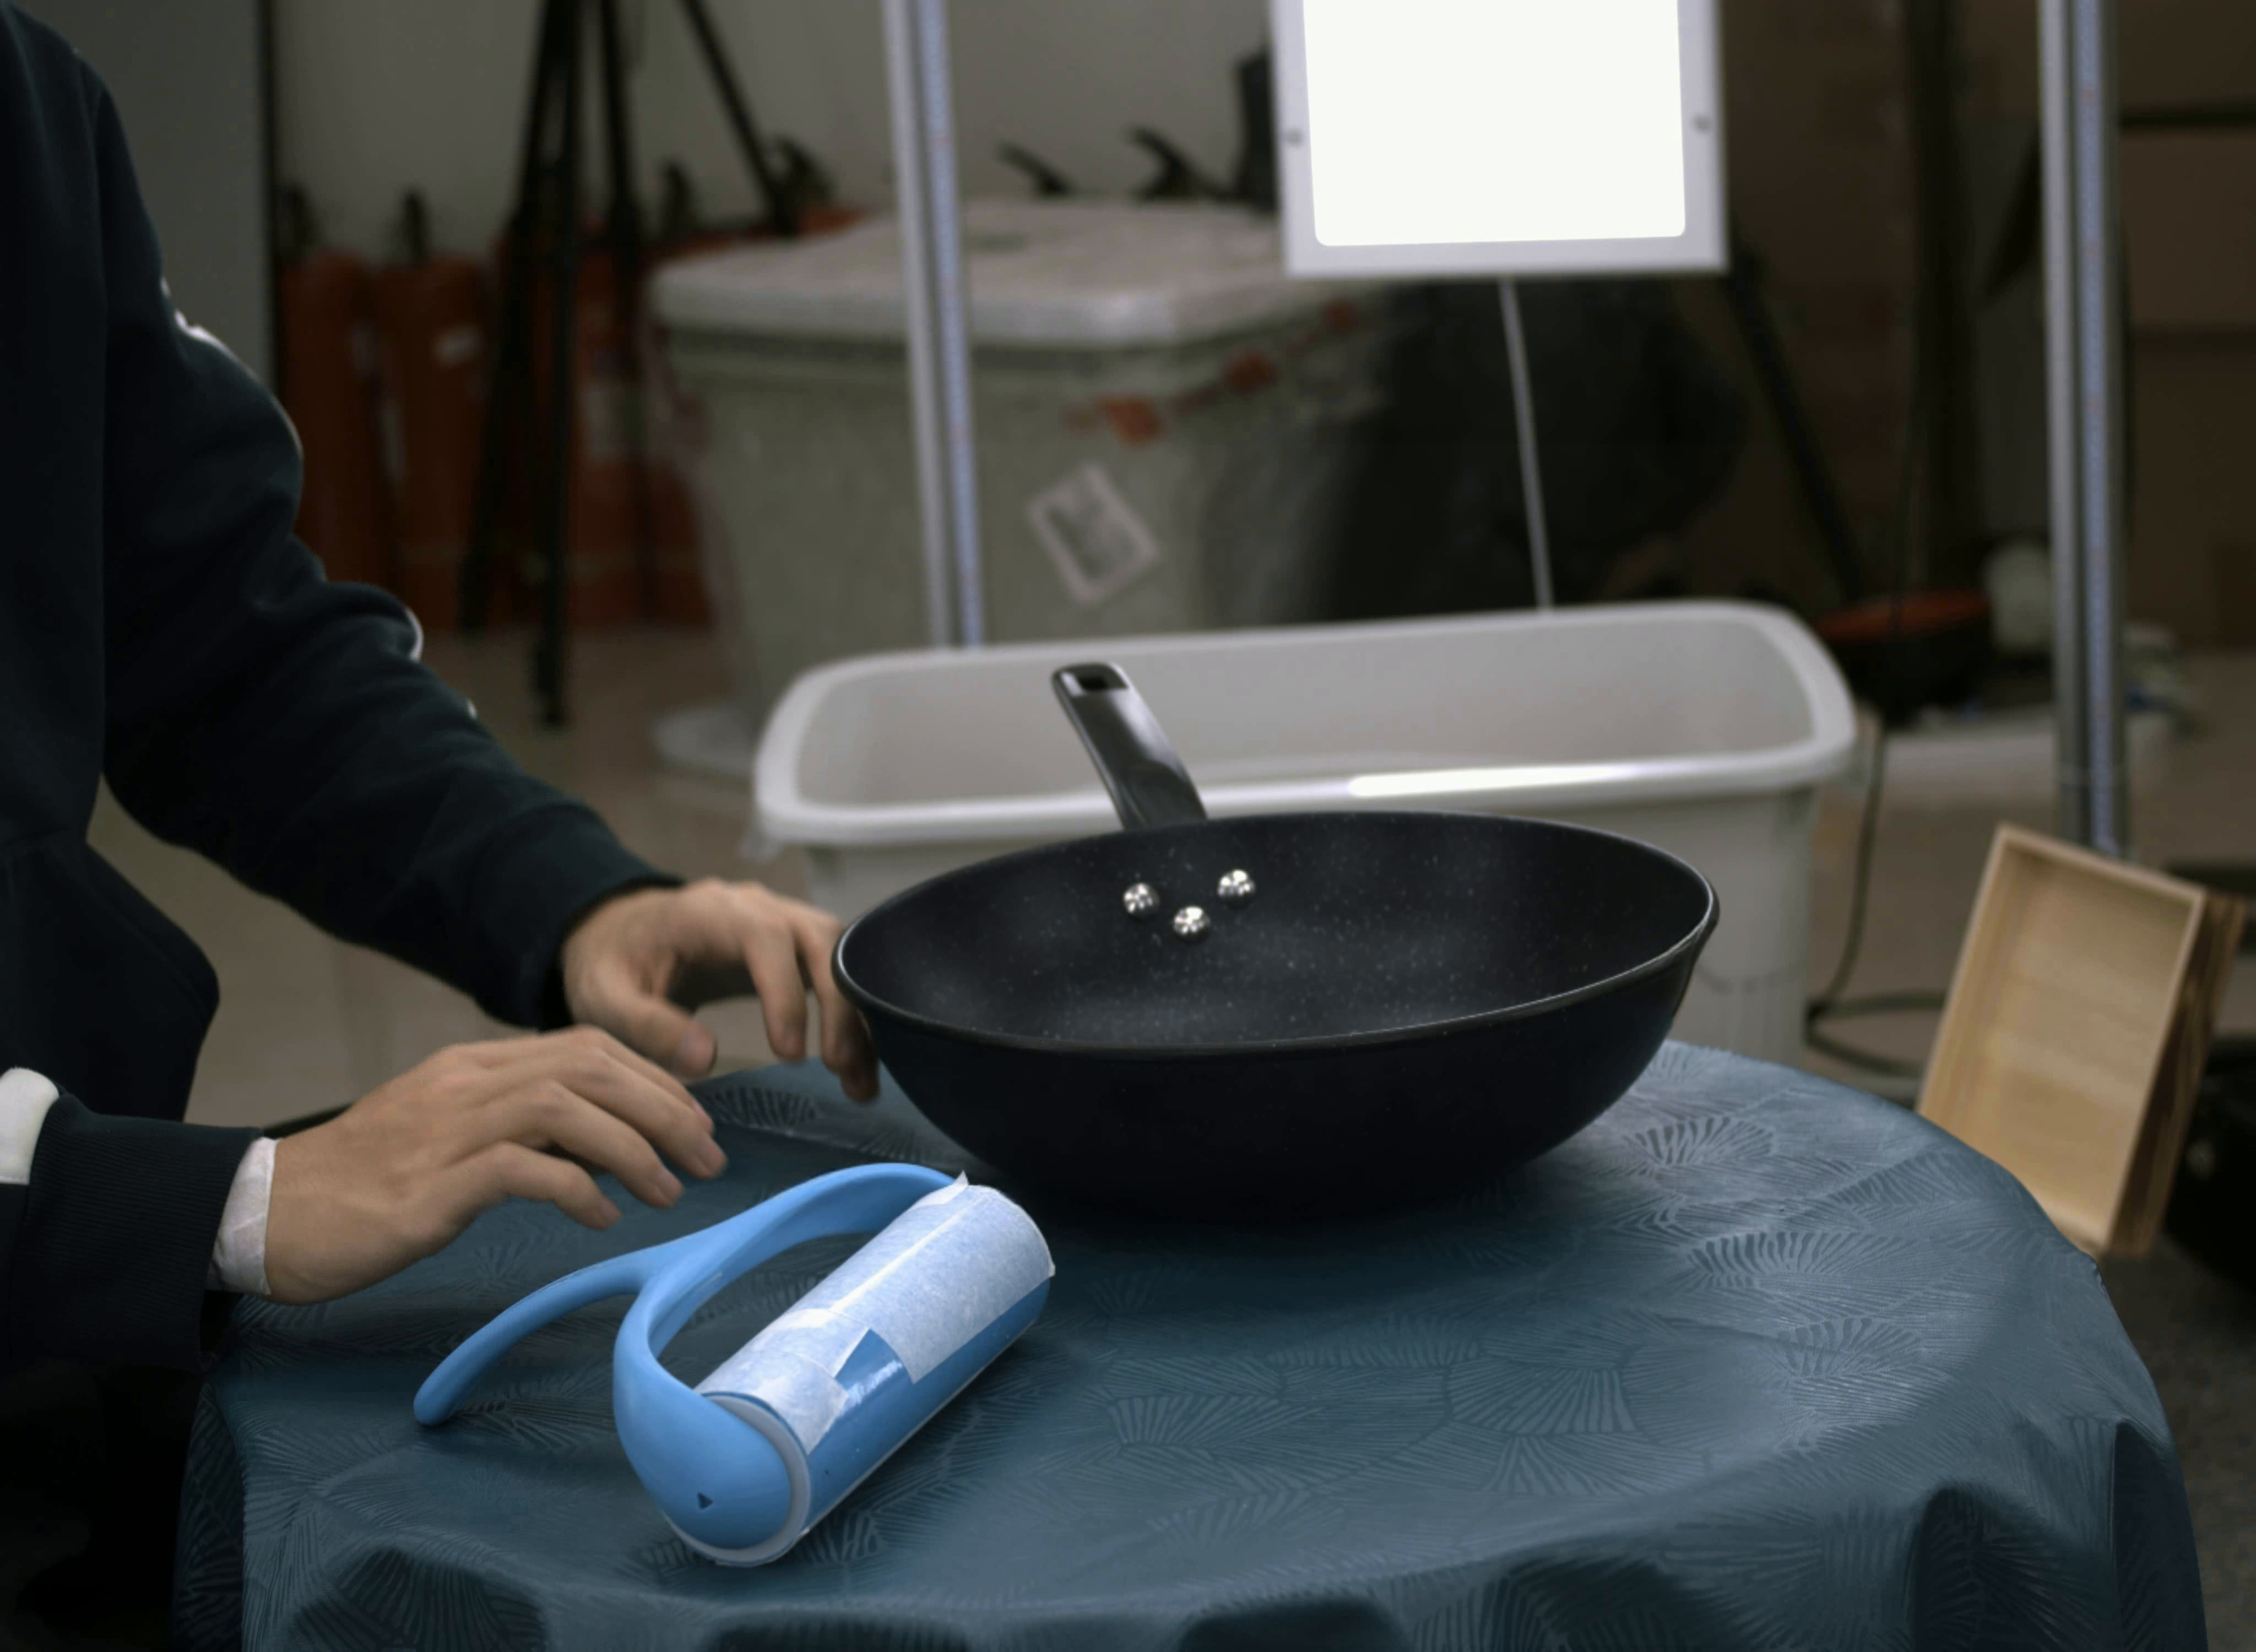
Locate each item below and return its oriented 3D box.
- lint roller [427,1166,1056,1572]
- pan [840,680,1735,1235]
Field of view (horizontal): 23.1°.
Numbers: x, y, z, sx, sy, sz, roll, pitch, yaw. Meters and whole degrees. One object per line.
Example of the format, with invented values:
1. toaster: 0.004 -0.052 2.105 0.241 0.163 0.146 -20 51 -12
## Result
1. lint roller: -0.134 0.162 1.683 0.182 0.068 0.225 0 17 18
2. pan: 0.038 0.047 1.982 0.307 0.112 0.480 -6 14 -11
